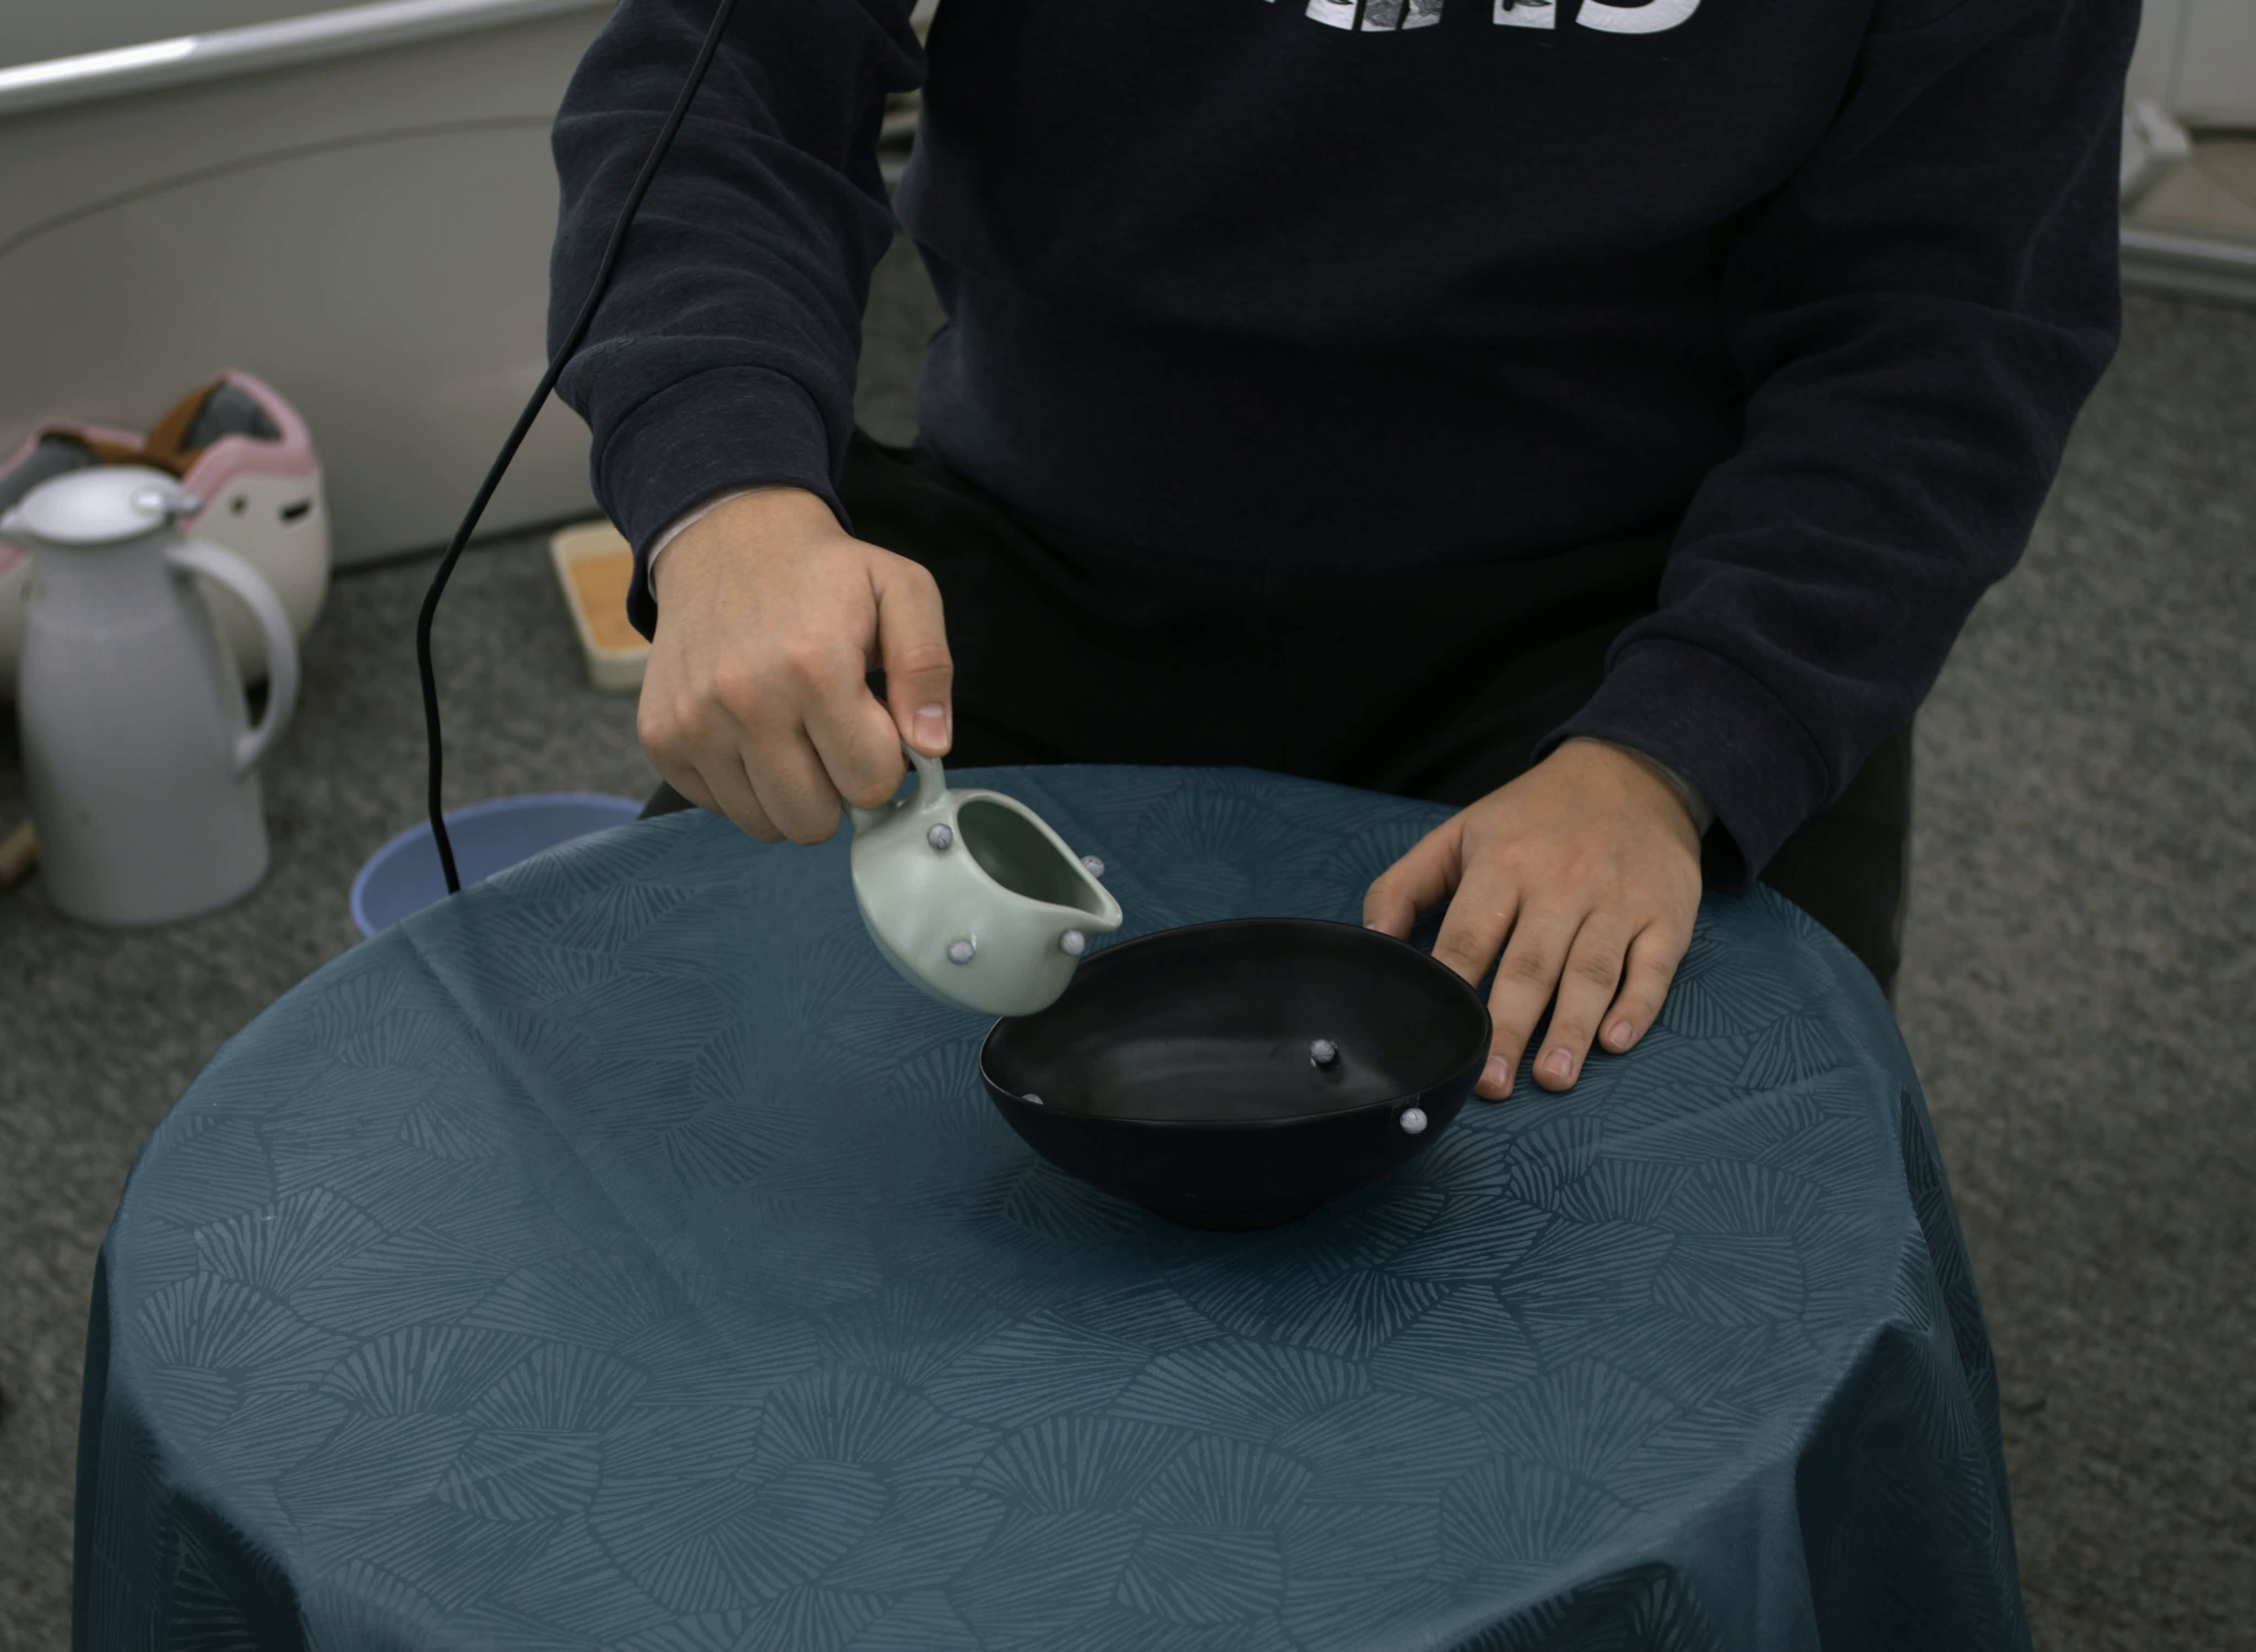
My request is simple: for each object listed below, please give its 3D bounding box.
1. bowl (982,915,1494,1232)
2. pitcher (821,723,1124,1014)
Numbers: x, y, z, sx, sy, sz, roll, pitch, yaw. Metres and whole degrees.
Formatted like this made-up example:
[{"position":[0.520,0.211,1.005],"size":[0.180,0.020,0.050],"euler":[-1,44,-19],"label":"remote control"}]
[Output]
[{"position":[0.037,0.091,1.854],"size":[0.169,0.066,0.139],"euler":[-2,26,2],"label":"bowl"},{"position":[-0.058,0.014,1.823],"size":[0.108,0.059,0.087],"euler":[37,31,-4],"label":"pitcher"}]
